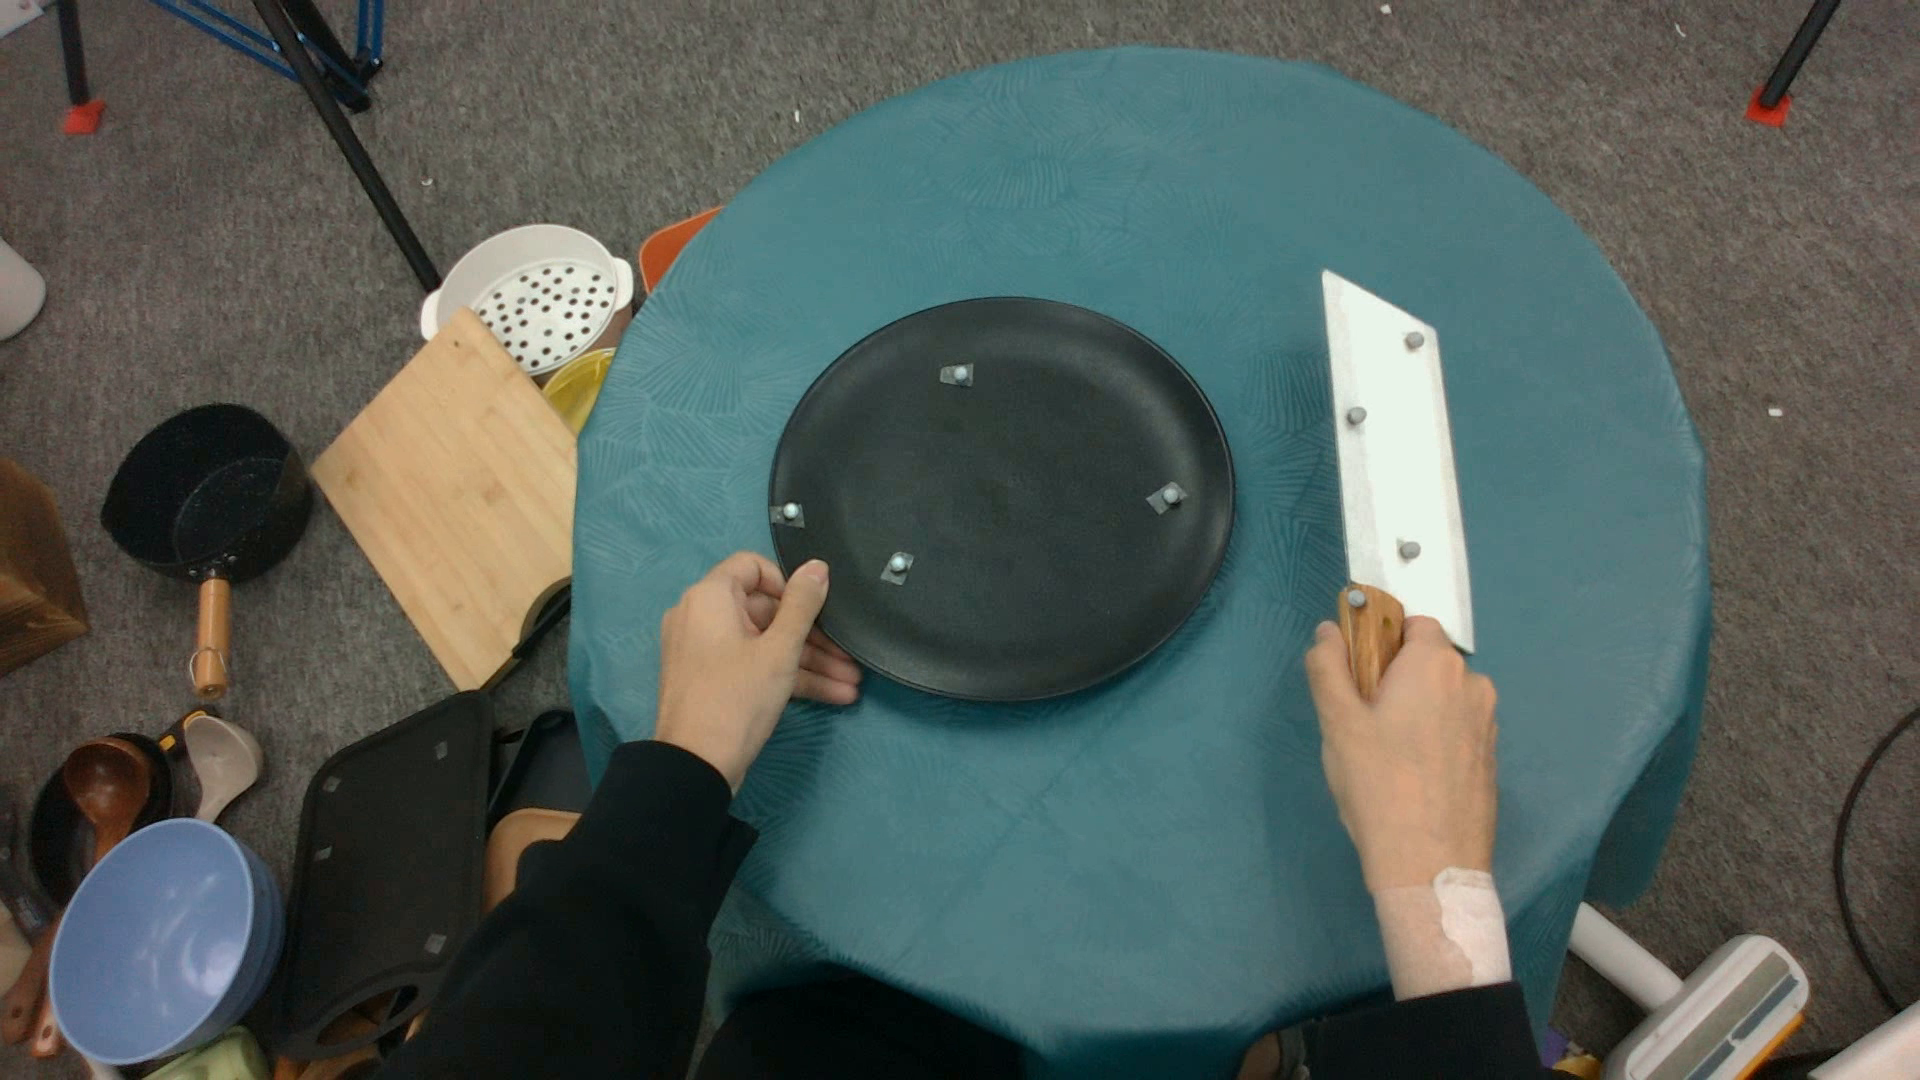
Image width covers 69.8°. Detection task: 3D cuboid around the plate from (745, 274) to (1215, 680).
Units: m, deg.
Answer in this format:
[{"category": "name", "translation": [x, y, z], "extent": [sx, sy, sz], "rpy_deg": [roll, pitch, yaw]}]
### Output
[{"category": "plate", "translation": [0.010, -0.037, 0.721], "extent": [0.244, 0.023, 0.245], "rpy_deg": [-1, 62, 2]}]

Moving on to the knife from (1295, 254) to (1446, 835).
[{"category": "knife", "translation": [0.203, -0.004, 0.669], "extent": [0.093, 0.021, 0.307], "rpy_deg": [20, 59, -31]}]
